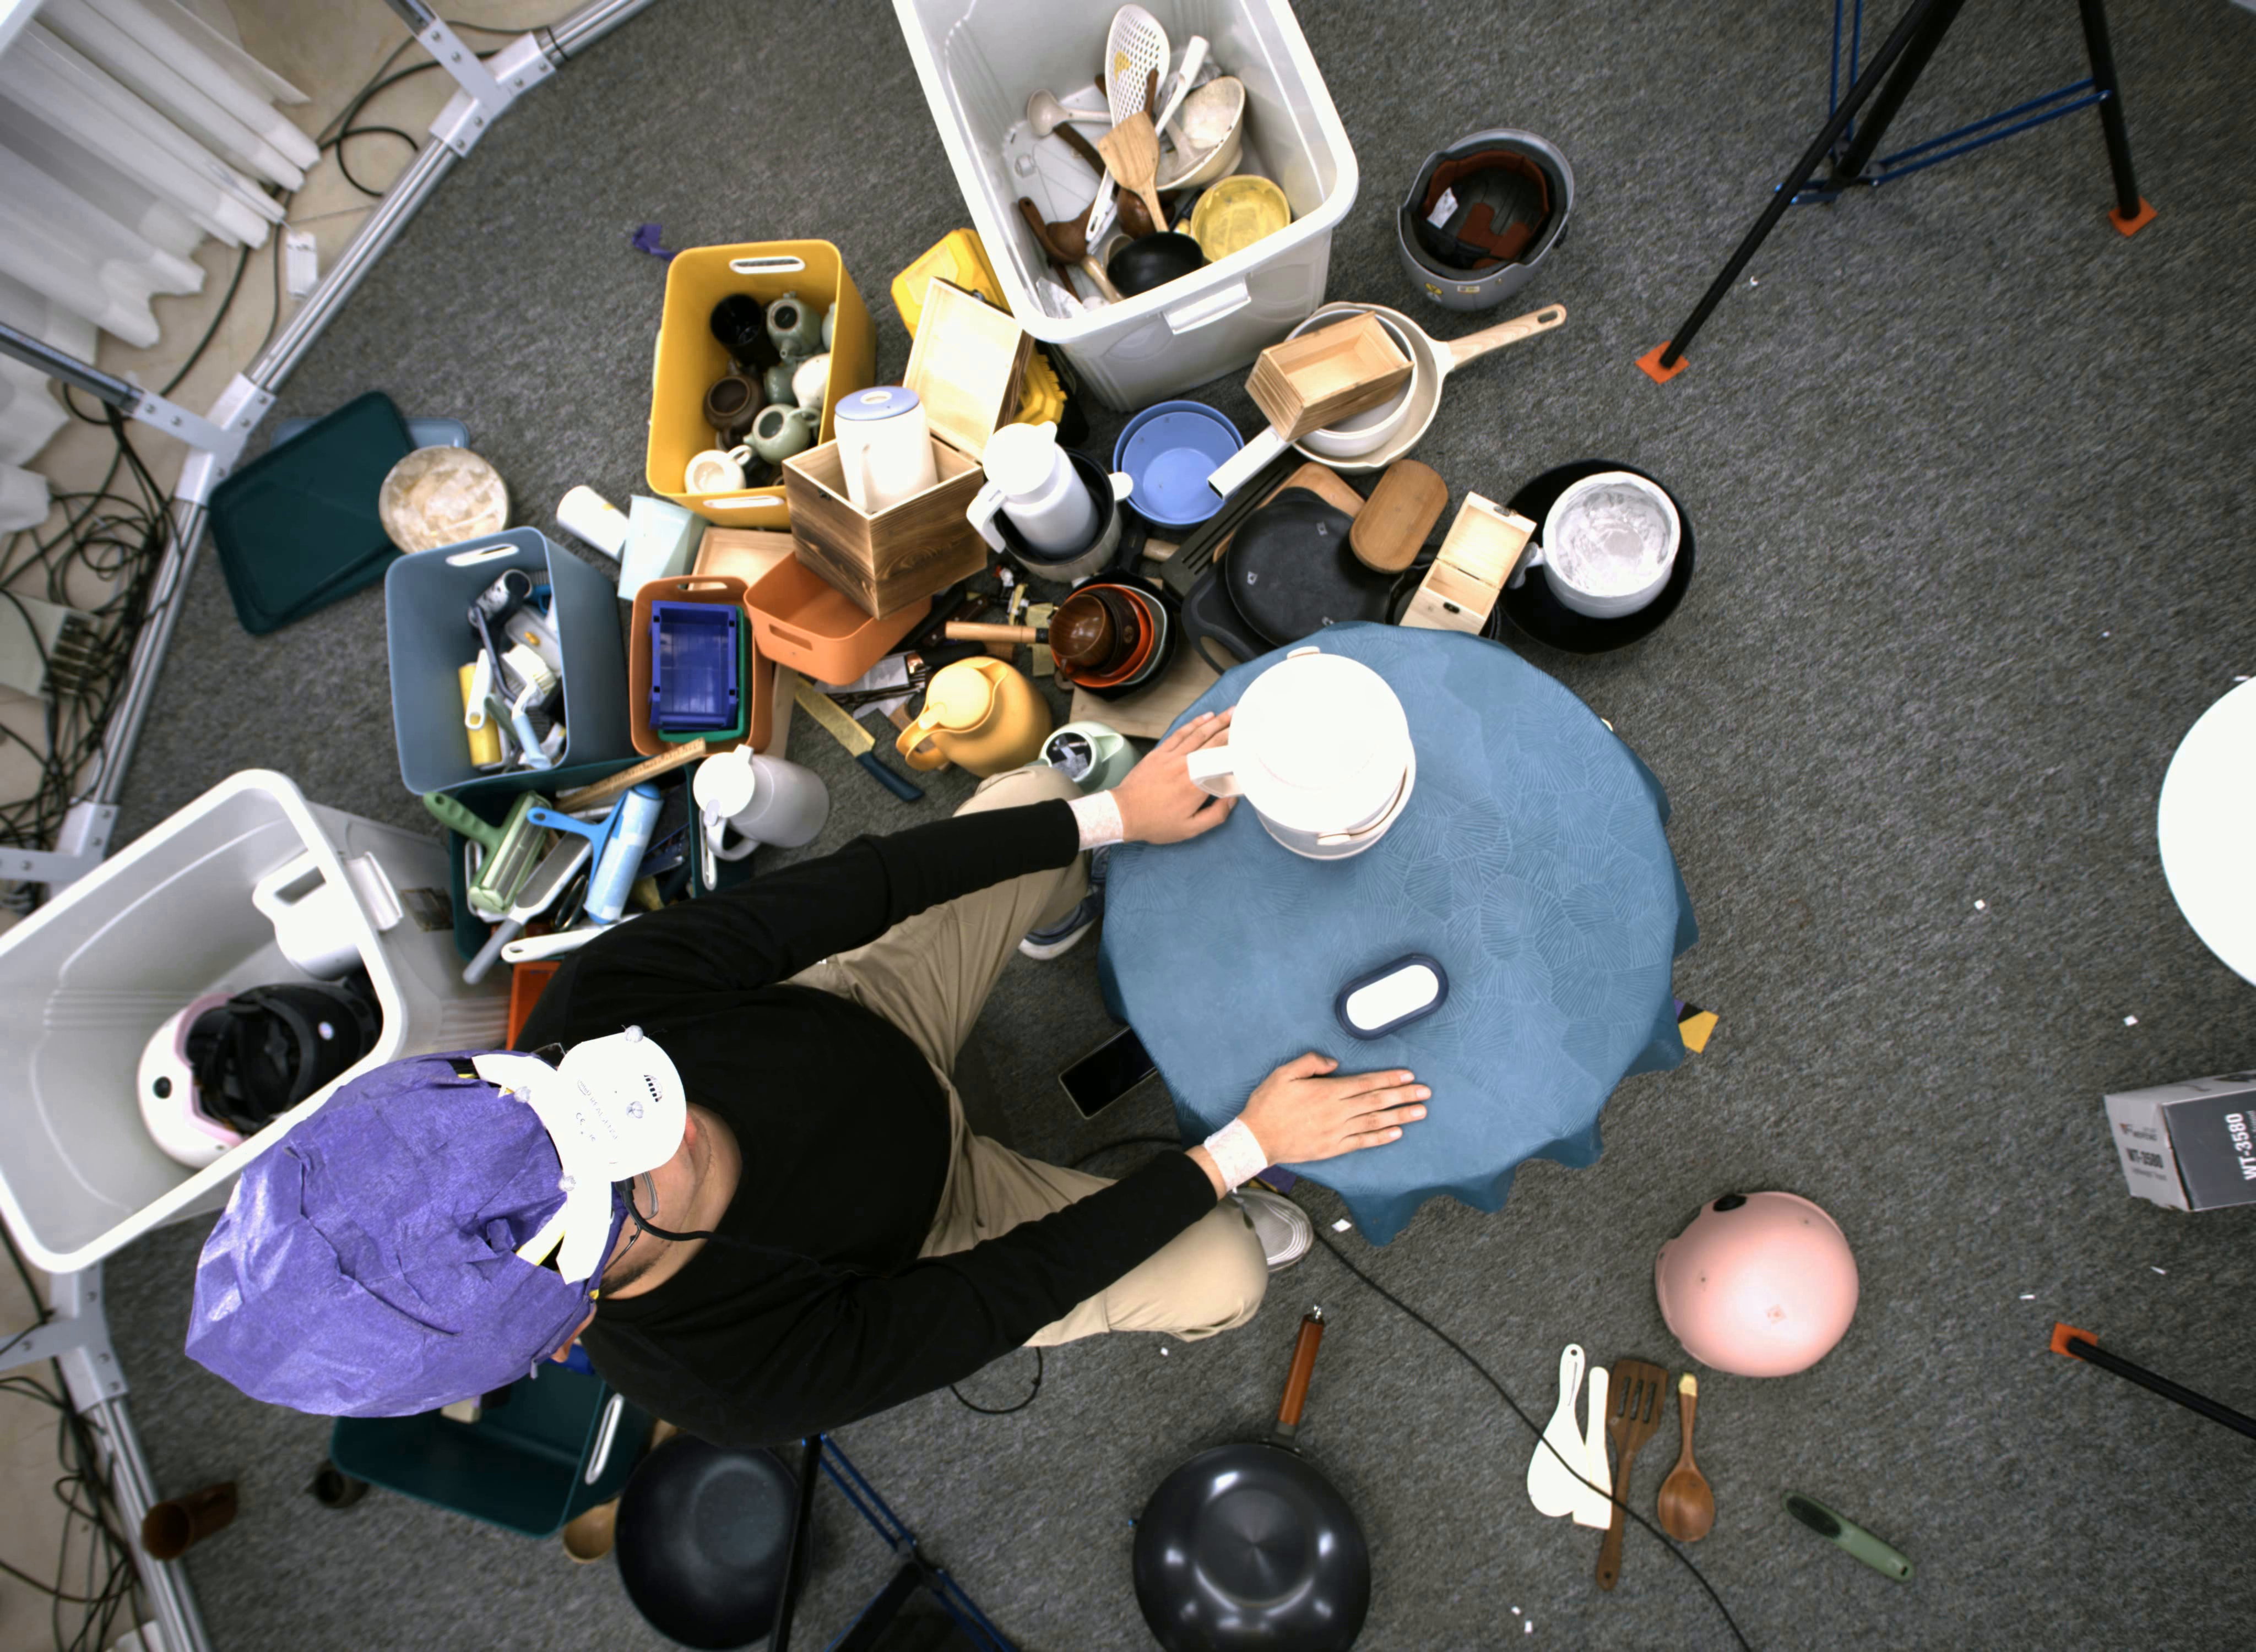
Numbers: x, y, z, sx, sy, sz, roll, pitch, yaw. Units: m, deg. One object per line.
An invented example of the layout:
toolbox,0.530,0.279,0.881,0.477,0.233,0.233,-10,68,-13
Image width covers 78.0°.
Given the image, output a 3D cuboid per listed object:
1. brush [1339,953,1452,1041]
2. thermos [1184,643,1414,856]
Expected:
brush,0.276,0.175,1.425,0.122,0.061,0.067,-25,79,8
thermos,0.164,-0.065,1.286,0.208,0.406,0.174,-10,84,8
